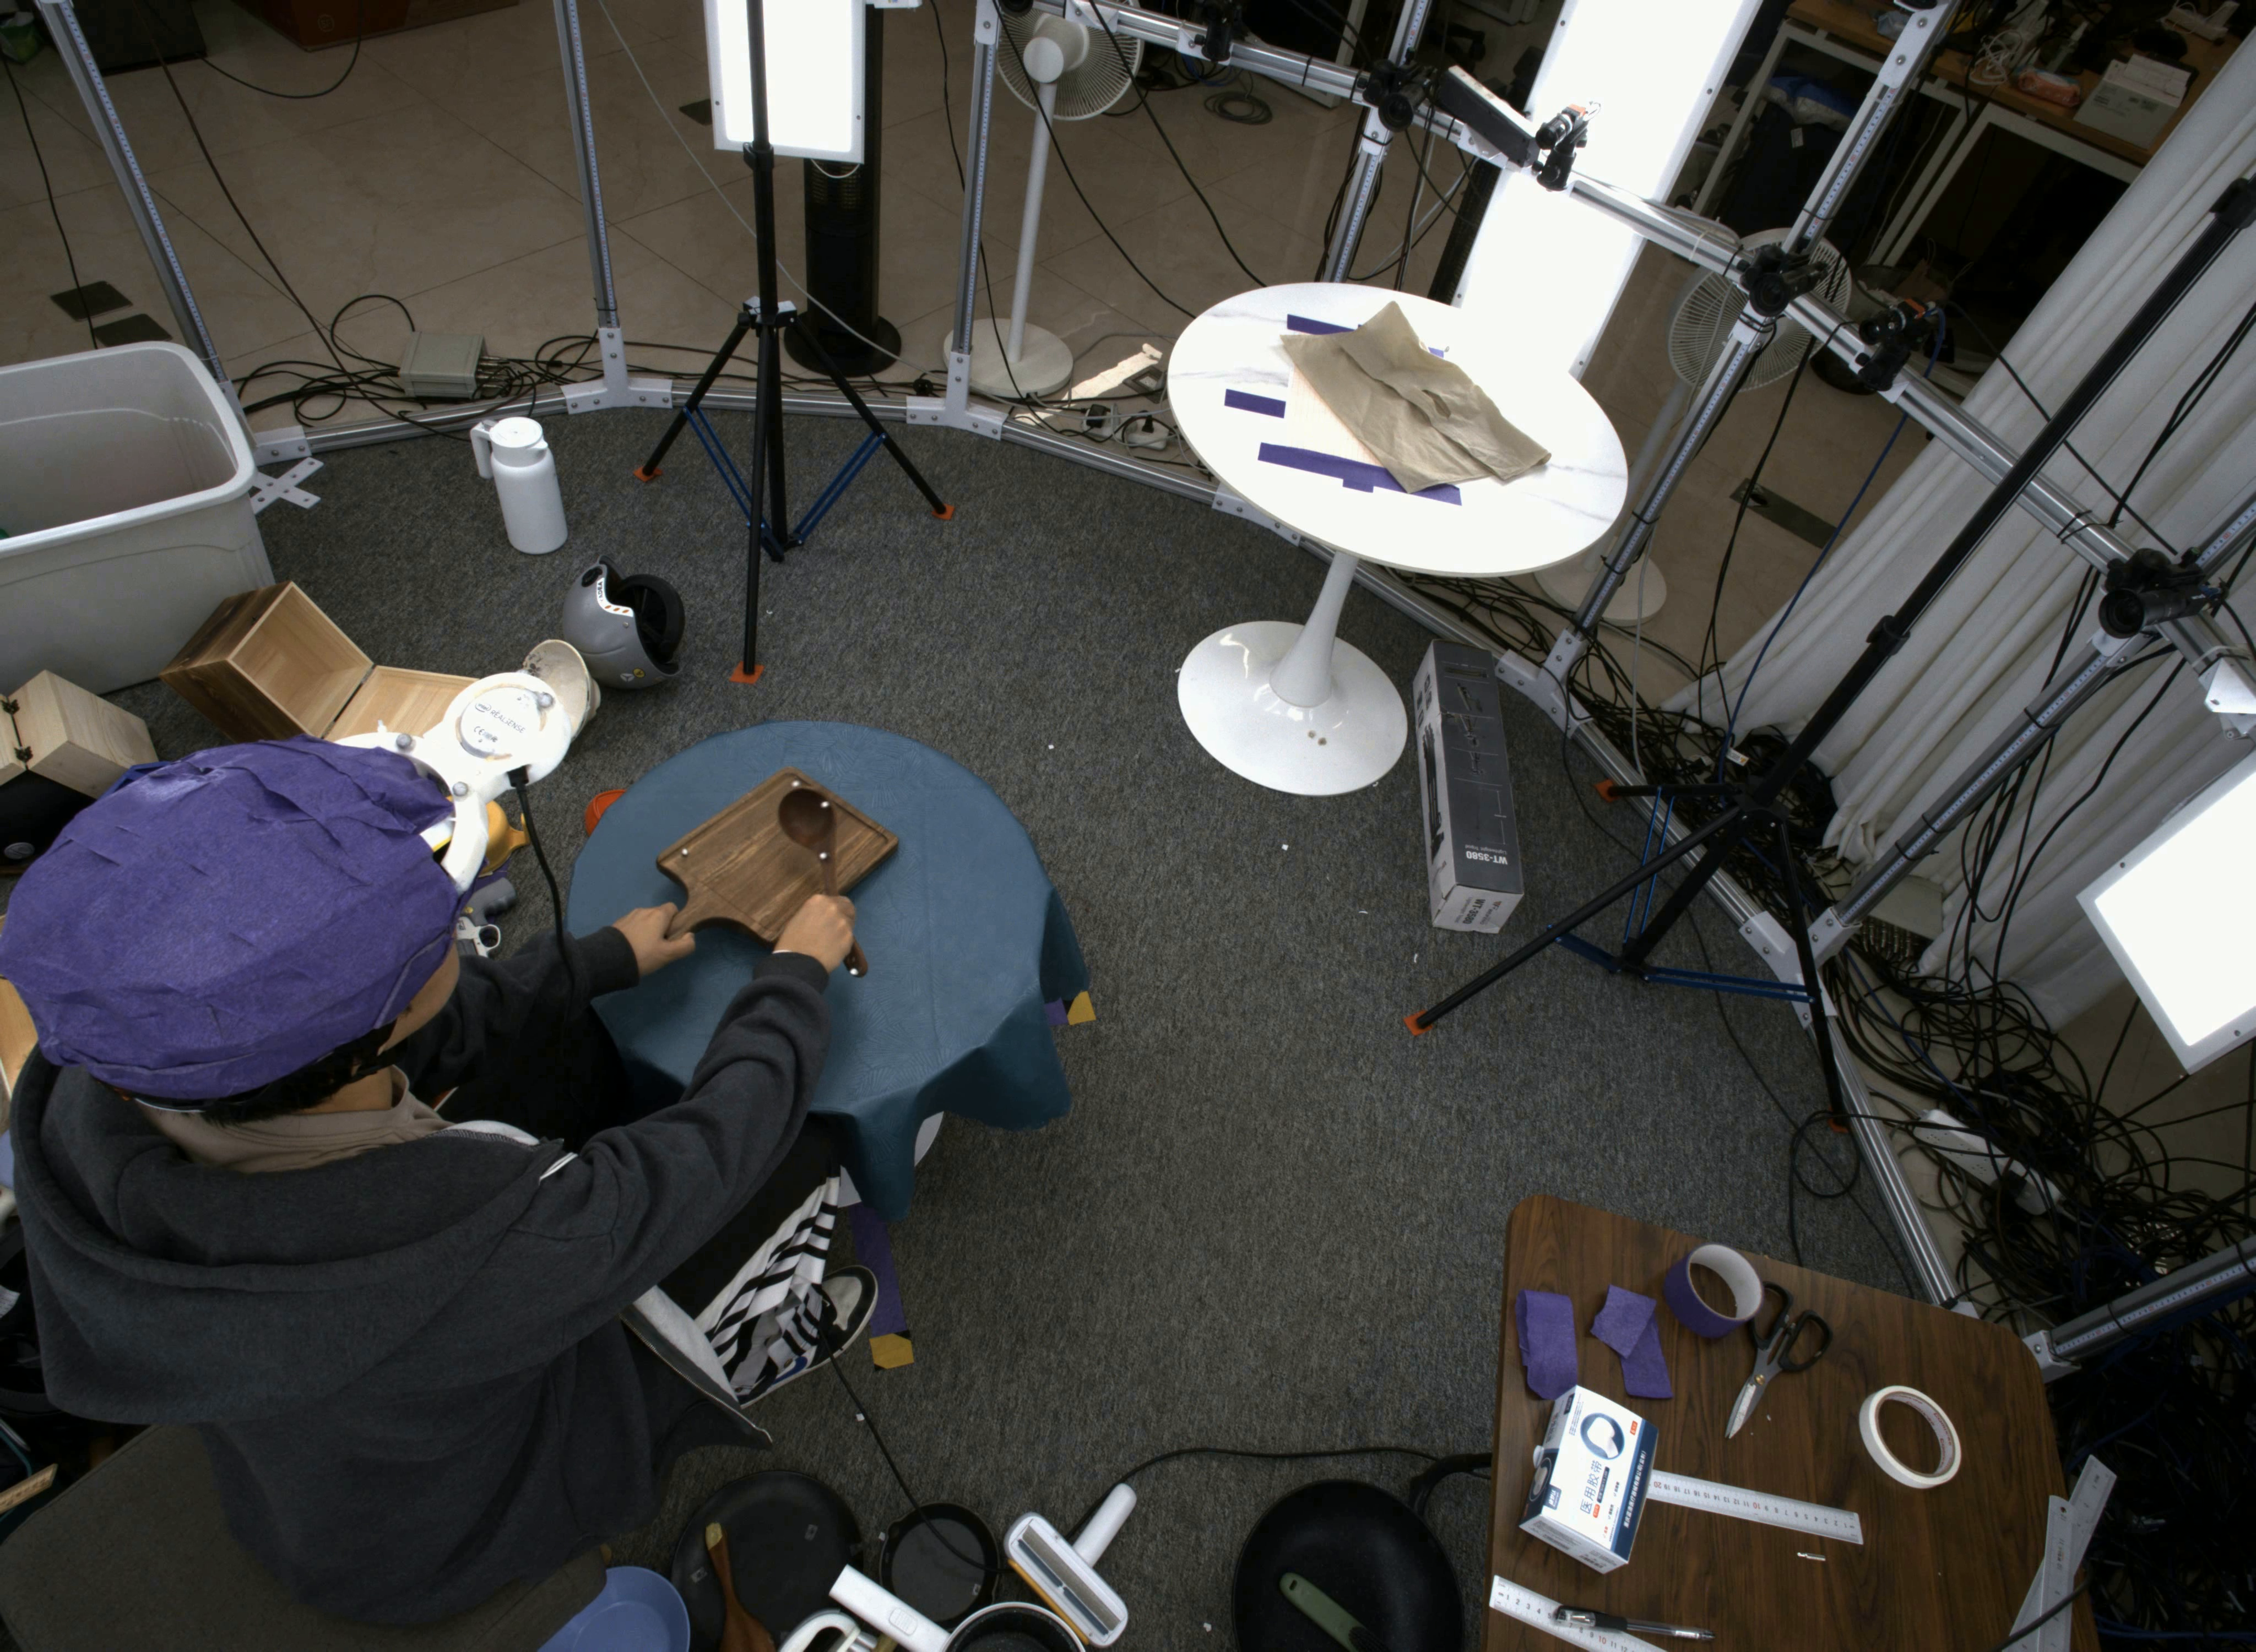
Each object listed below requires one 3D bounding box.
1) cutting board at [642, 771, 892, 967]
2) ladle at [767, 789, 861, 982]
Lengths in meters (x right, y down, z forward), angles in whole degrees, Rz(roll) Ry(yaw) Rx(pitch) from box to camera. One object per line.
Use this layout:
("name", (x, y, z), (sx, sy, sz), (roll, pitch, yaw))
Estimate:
("cutting board", (-0.476, 0.062, 1.620), (0.197, 0.023, 0.351), (32, 43, 11))
("ladle", (-0.376, 0.068, 1.557), (0.067, 0.076, 0.254), (25, 36, -53))
